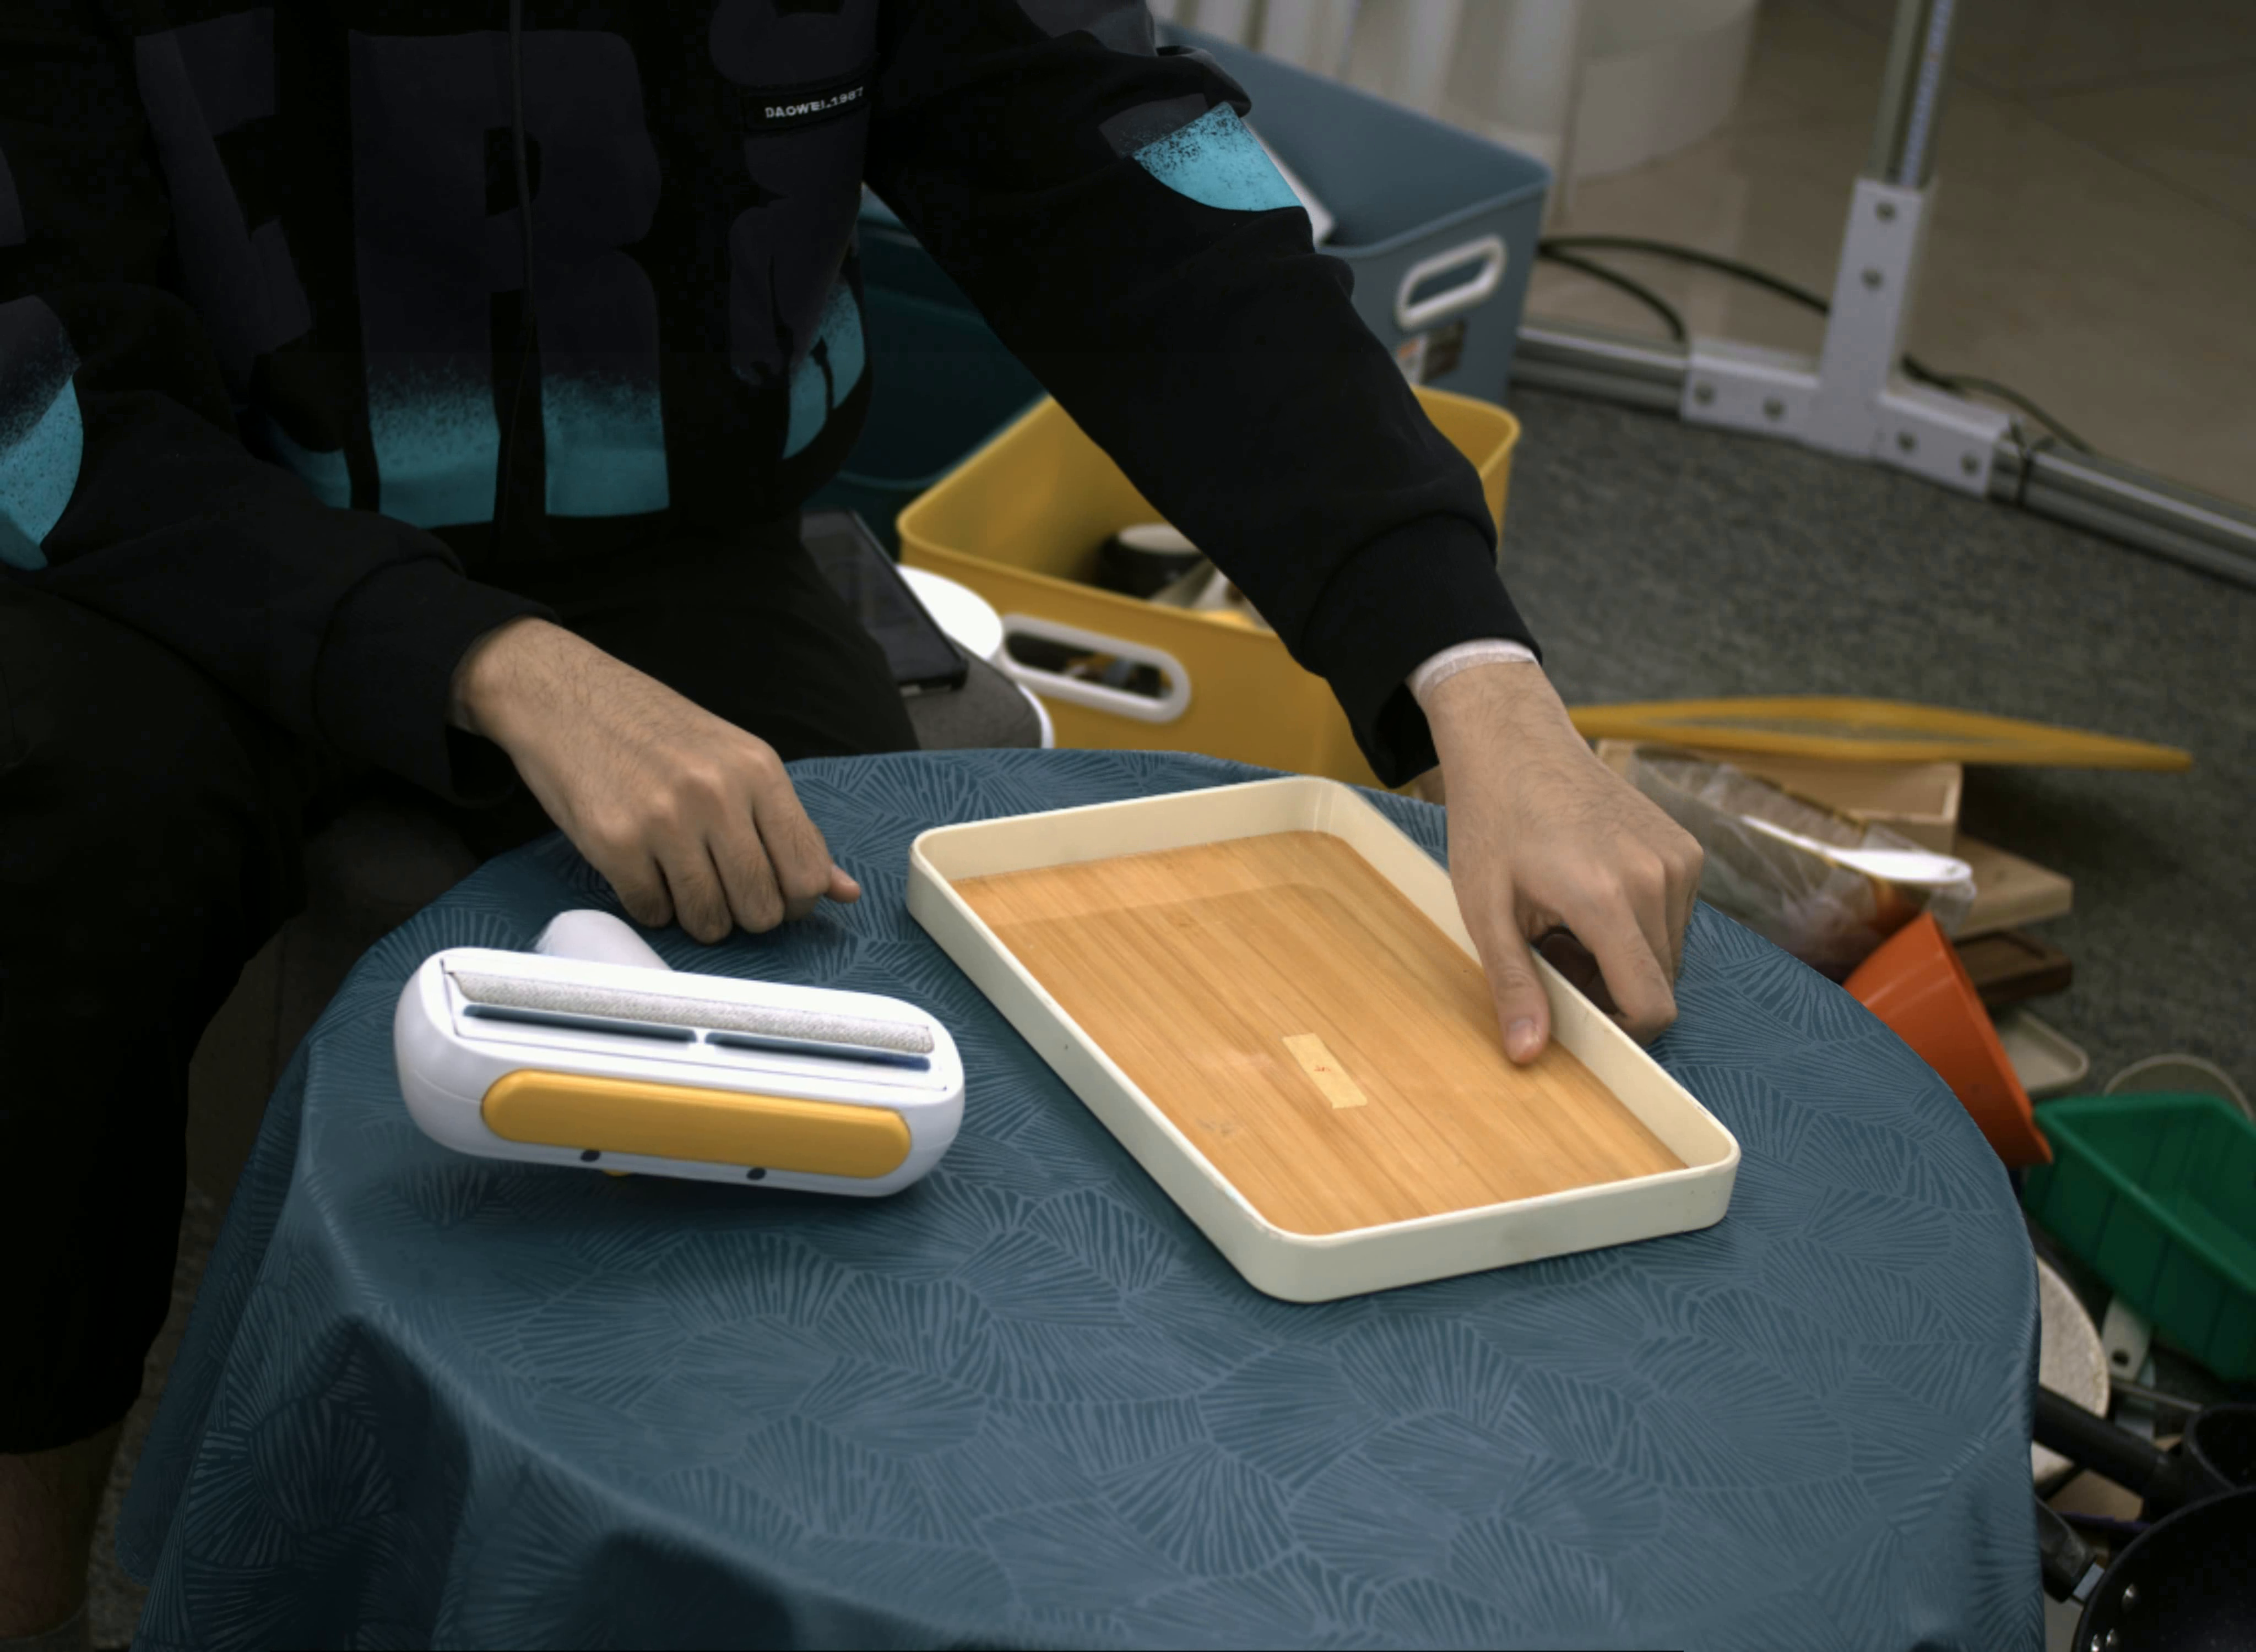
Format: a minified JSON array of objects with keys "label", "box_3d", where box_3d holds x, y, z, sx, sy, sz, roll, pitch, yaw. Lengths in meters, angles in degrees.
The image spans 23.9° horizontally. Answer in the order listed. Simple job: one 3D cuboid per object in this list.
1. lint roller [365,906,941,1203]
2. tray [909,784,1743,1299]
[{"label":"lint roller","box_3d":[-0.169,0.062,1.808,0.191,0.074,0.194,5,25,-15]},{"label":"tray","box_3d":[0.064,0.070,1.889,0.190,0.027,0.303,-7,30,-27]}]
